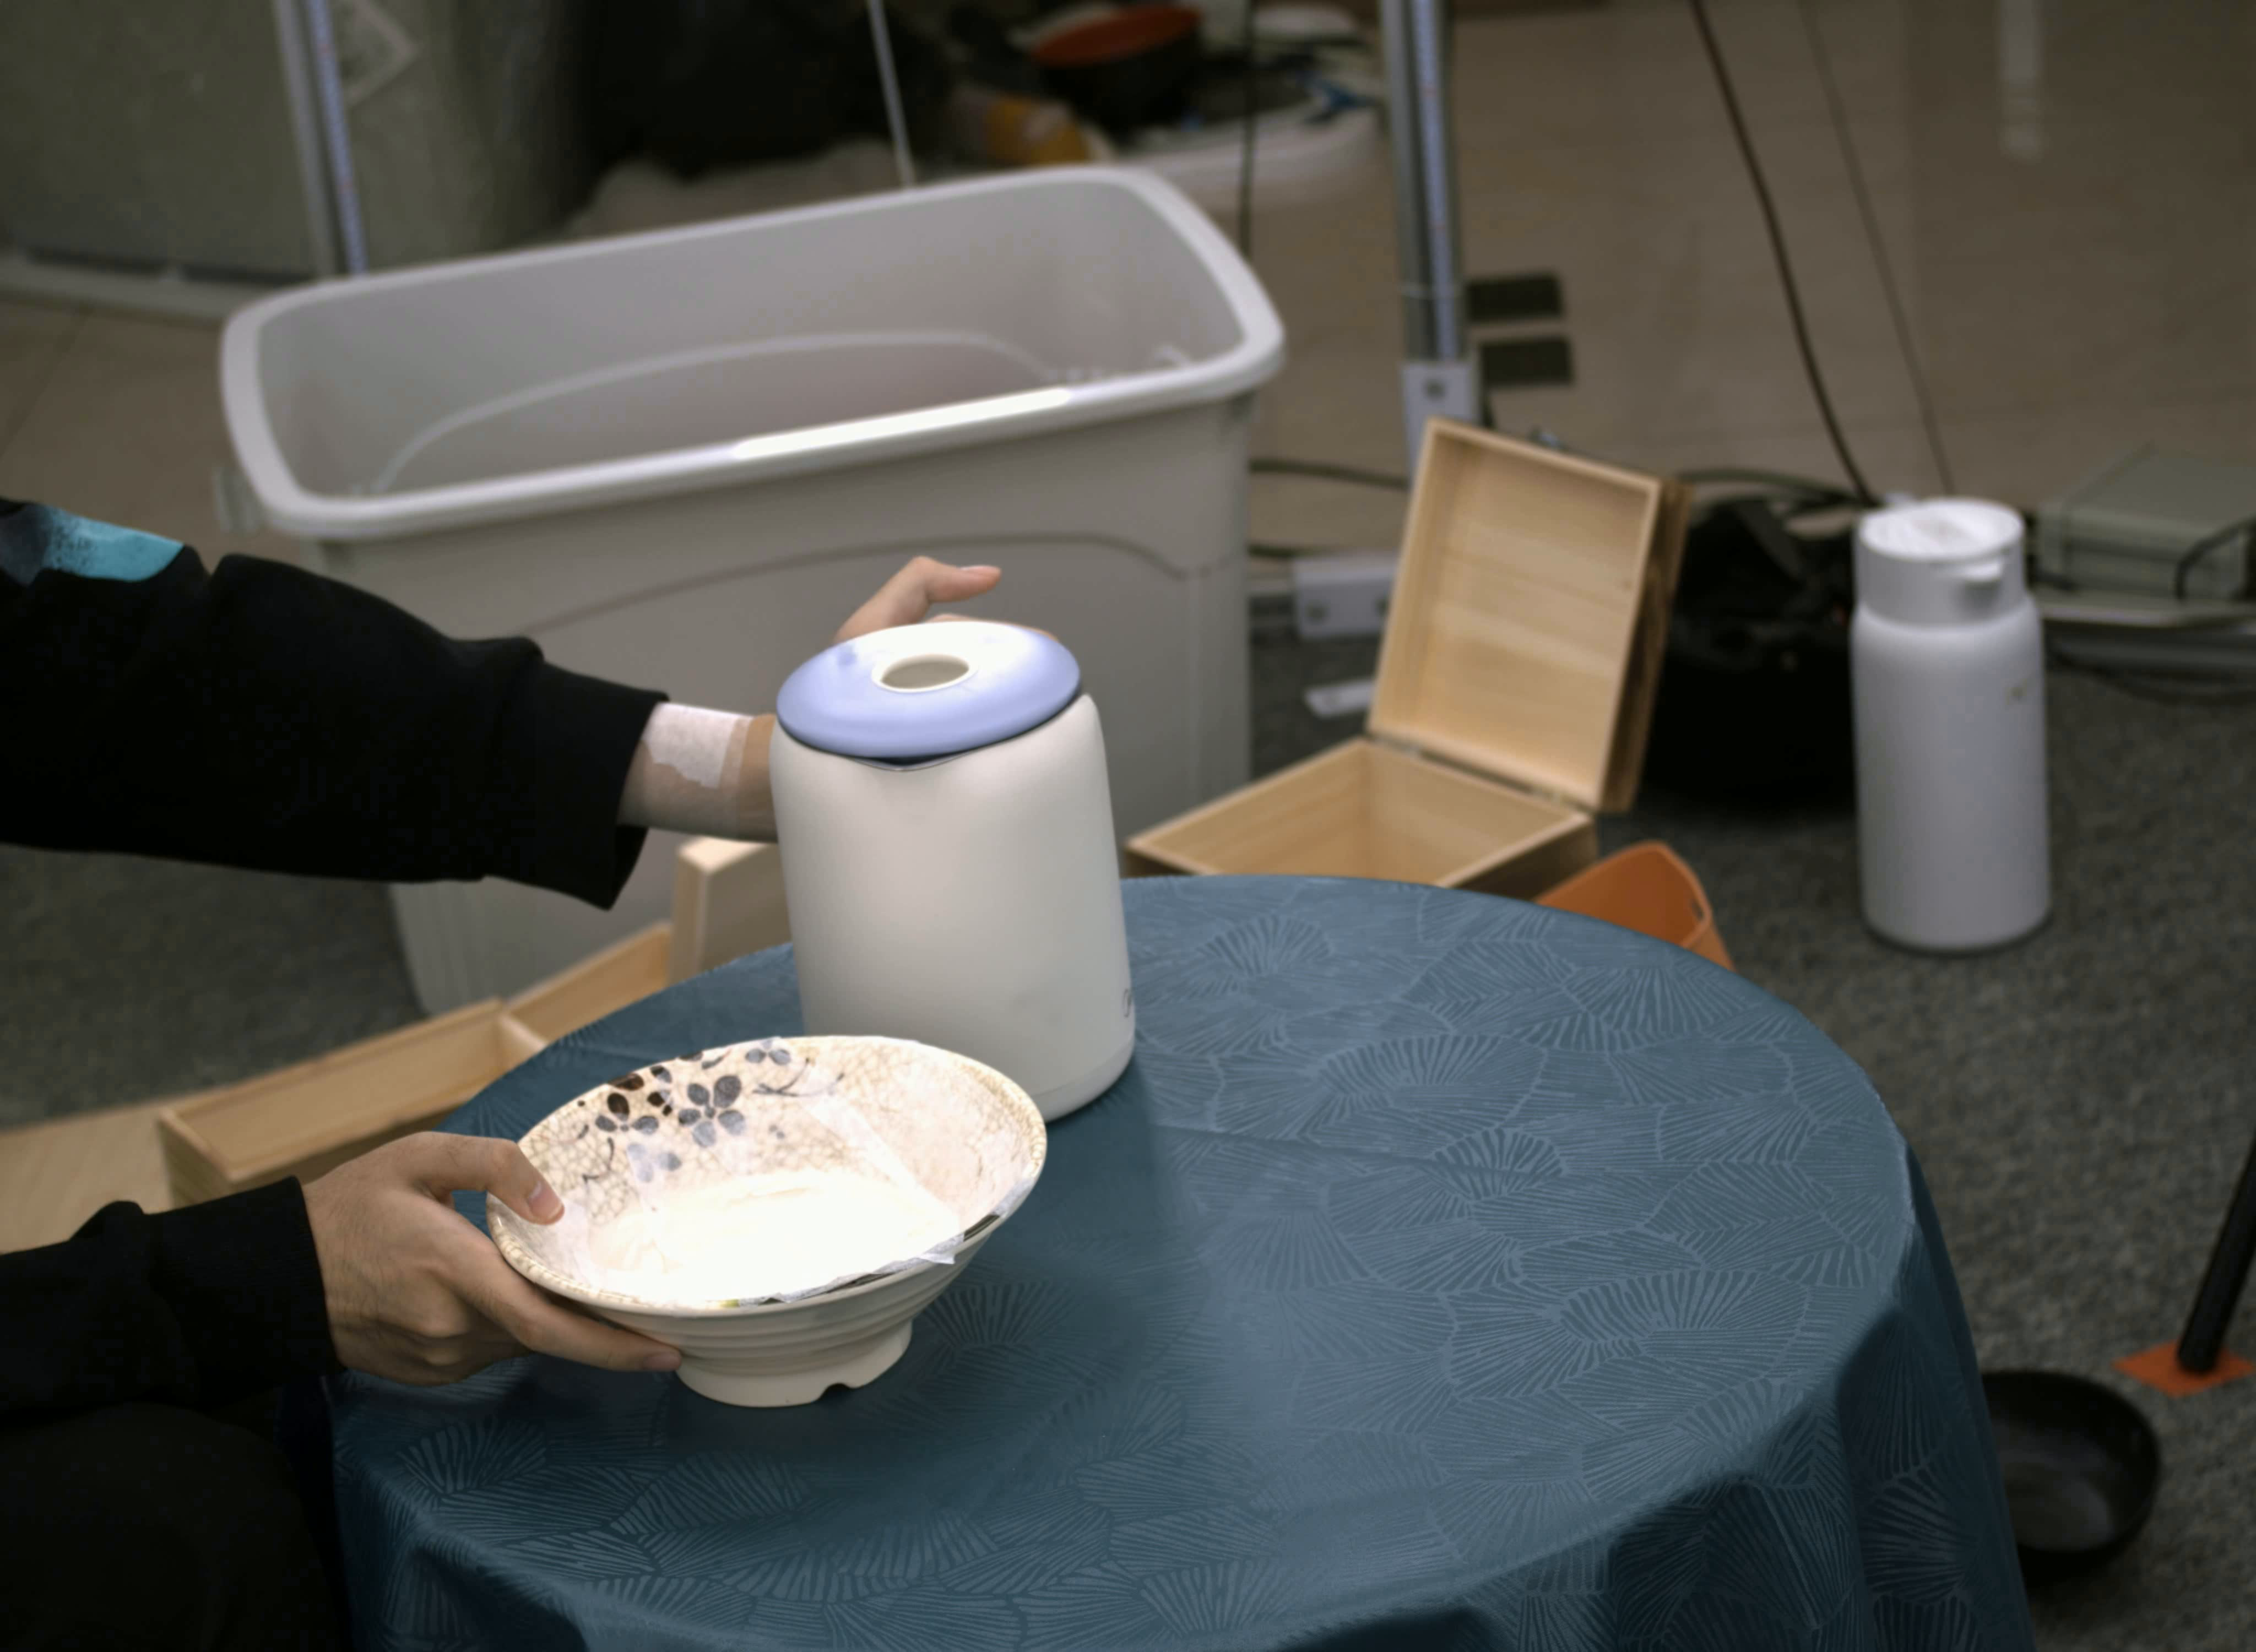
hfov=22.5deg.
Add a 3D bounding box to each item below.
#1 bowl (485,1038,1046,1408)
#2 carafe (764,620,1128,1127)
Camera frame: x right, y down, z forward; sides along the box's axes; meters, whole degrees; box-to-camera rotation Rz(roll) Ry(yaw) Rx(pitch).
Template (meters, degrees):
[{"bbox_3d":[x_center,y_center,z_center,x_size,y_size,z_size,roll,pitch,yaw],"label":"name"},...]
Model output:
[{"bbox_3d":[-0.125,0.155,2.045,0.204,0.079,0.201,-7,24,3],"label":"bowl"},{"bbox_3d":[-0.069,0.011,2.230,0.132,0.185,0.188,-3,23,5],"label":"carafe"}]
